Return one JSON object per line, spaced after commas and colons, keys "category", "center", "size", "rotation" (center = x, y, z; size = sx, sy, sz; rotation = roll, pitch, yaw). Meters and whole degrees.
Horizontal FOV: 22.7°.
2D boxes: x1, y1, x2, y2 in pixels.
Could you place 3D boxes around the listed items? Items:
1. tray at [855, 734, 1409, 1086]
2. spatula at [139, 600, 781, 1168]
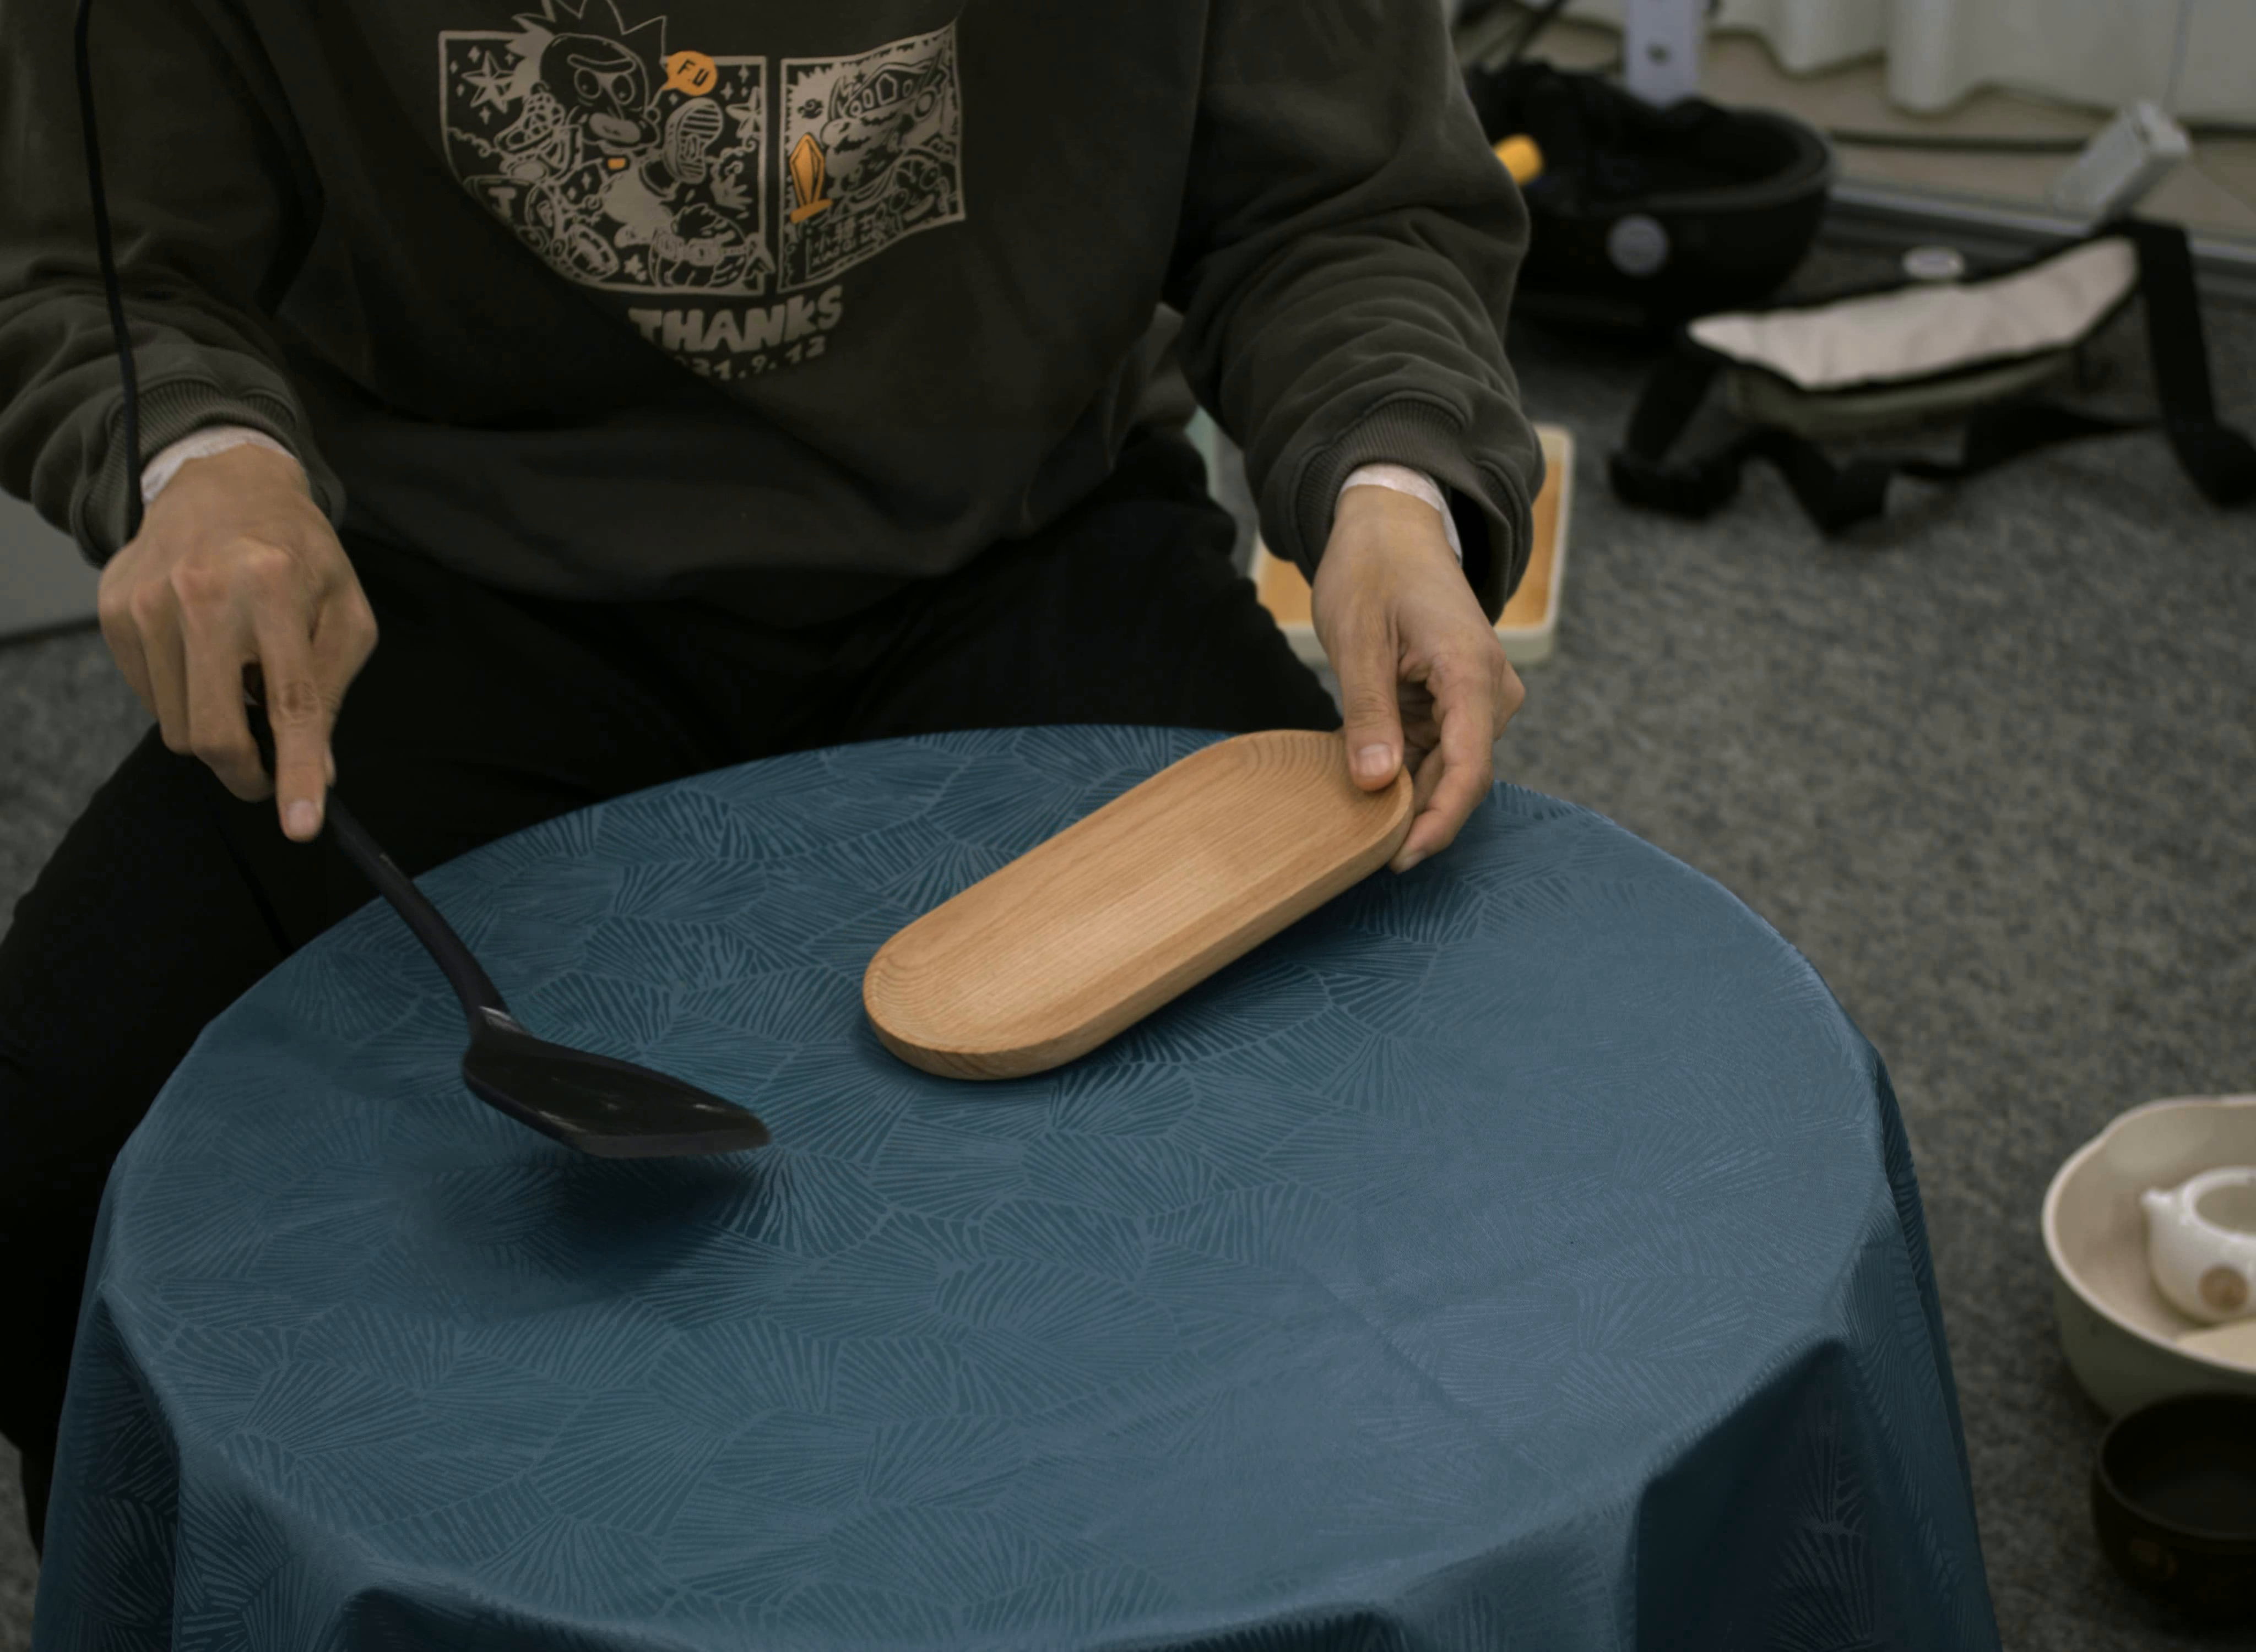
{"category": "tray", "center": [0.003, 0.029, 1.996], "size": [0.234, 0.020, 0.101], "rotation": [-32, 38, -31]}
{"category": "spatula", "center": [-0.245, 0.018, 1.916], "size": [0.100, 0.040, 0.328], "rotation": [2, 39, -52]}
